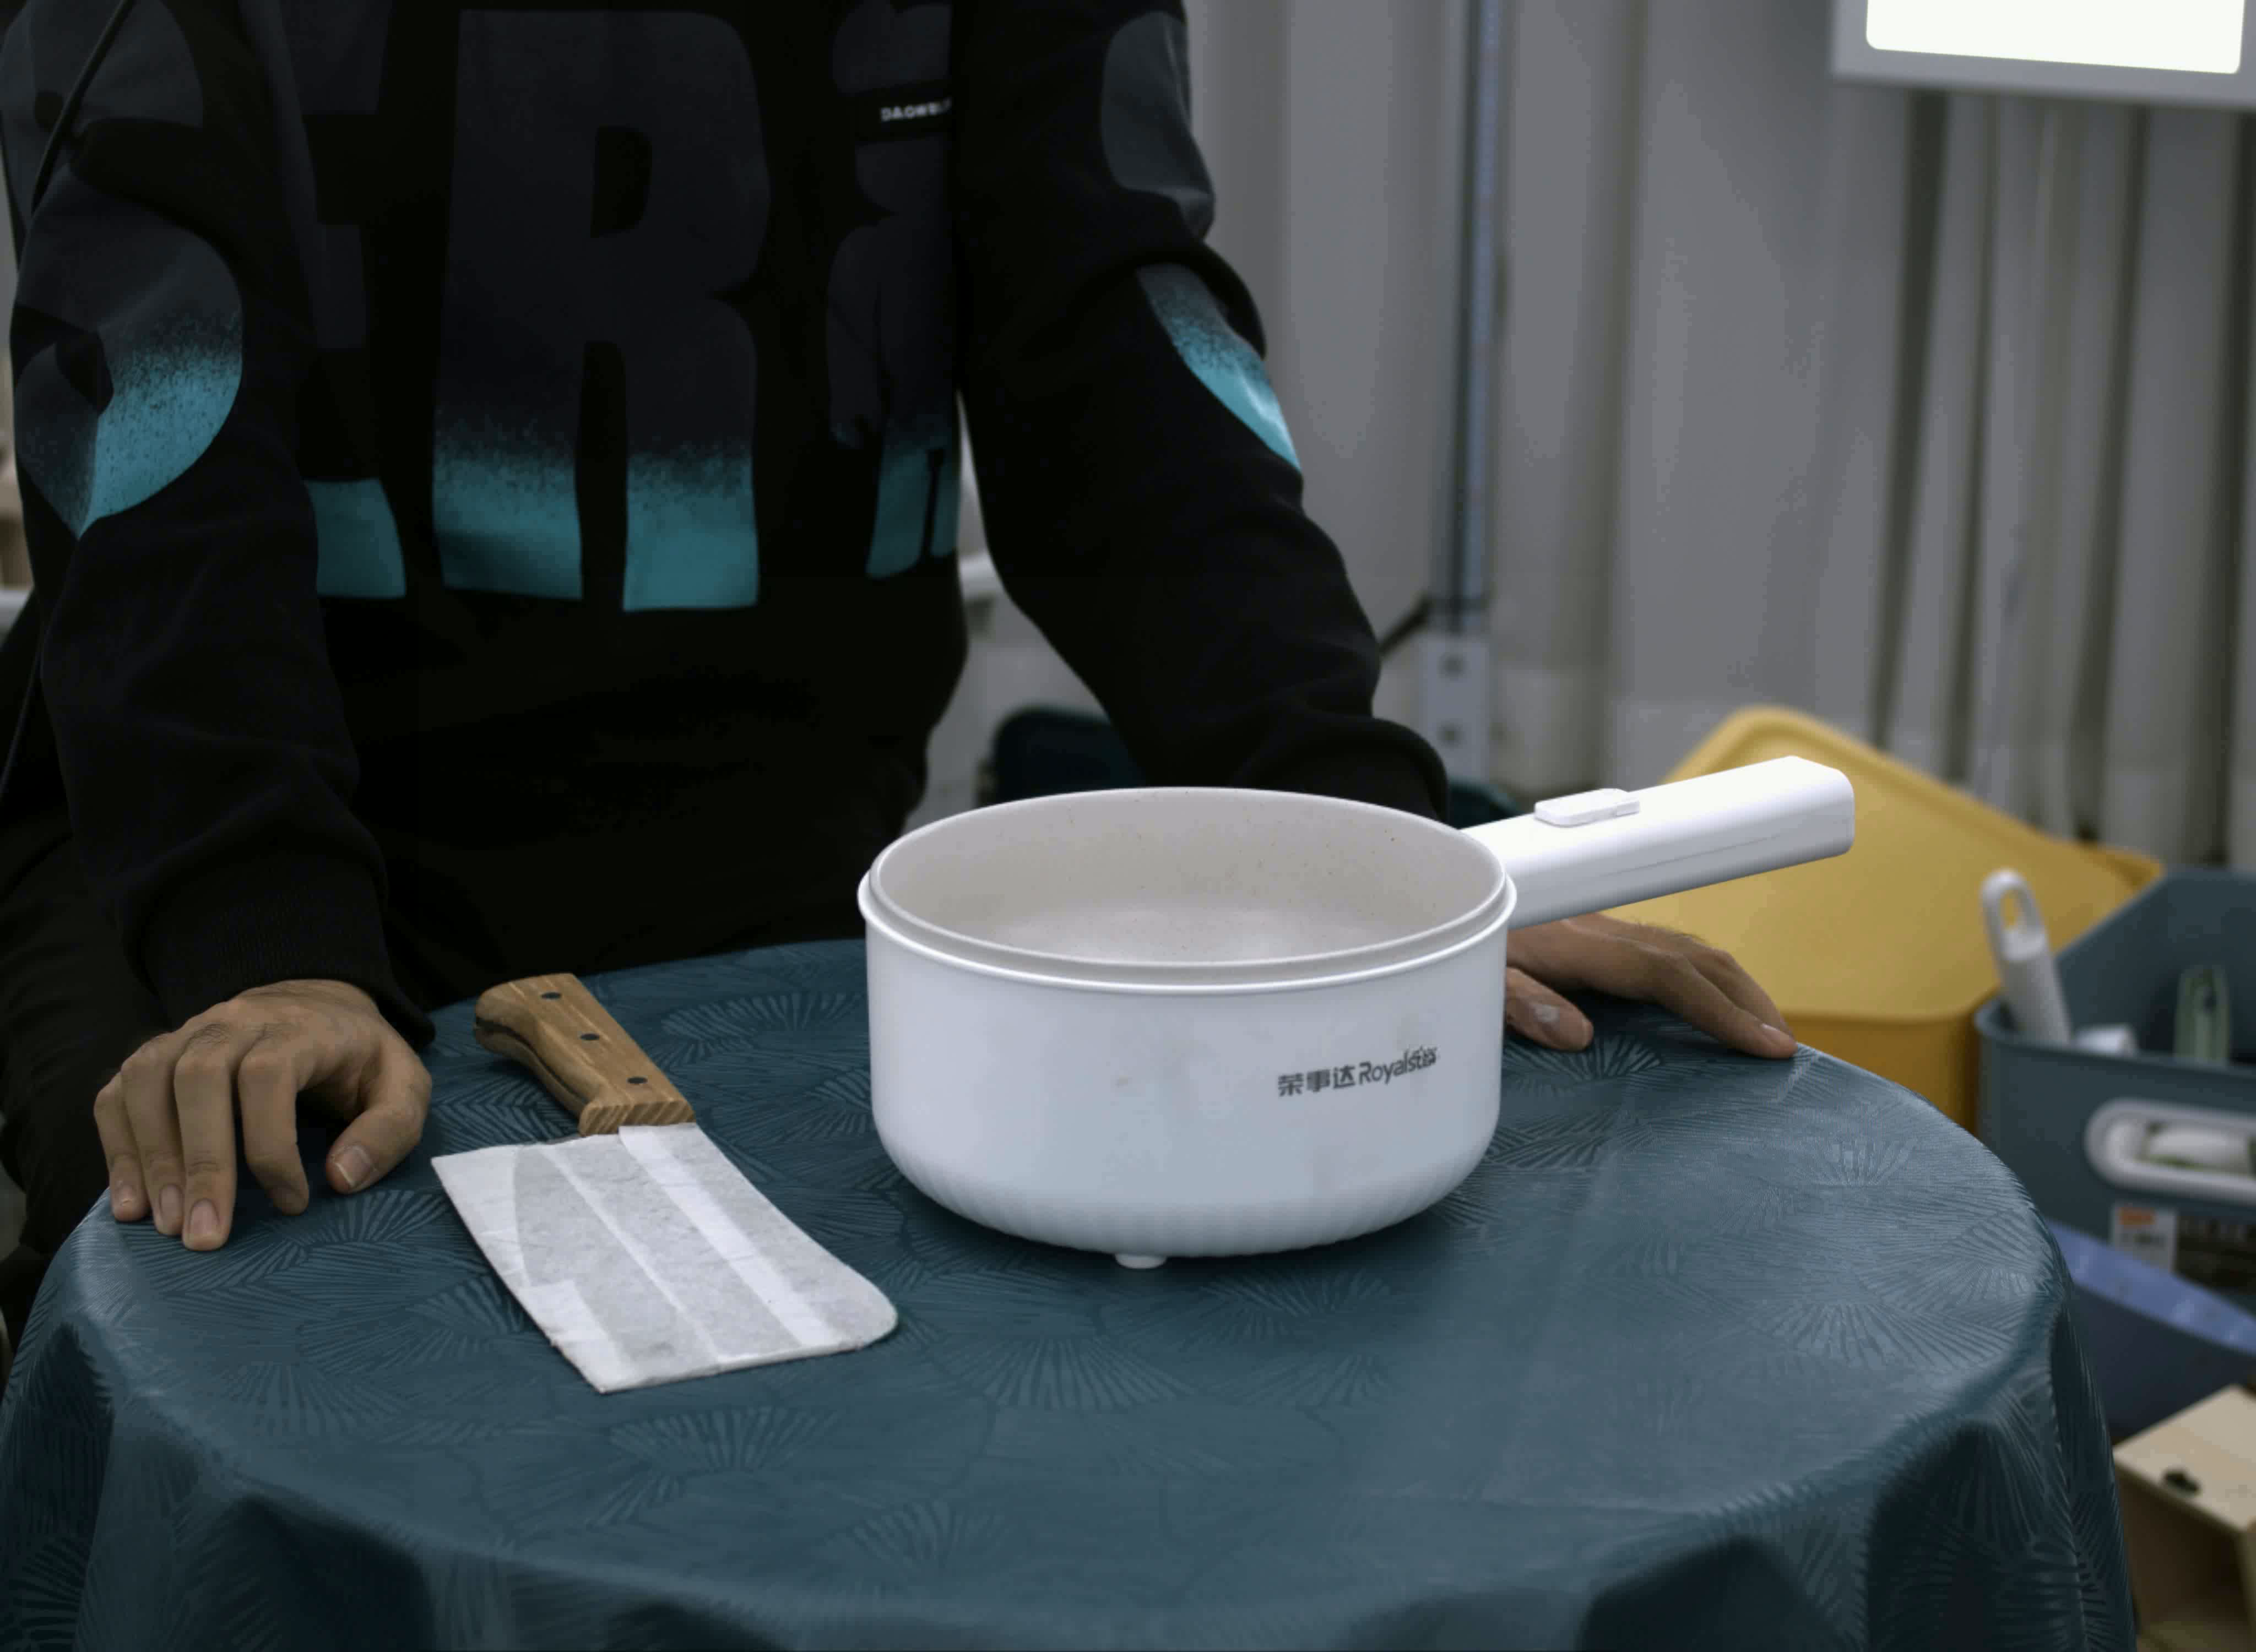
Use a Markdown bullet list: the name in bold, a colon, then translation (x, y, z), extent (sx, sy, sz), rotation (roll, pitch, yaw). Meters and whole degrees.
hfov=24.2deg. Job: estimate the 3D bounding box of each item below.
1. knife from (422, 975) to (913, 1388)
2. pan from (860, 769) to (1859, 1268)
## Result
- **knife**: translation (-0.155, 0.106, 1.609), extent (0.114, 0.022, 0.312), rotation (-5, 19, -18)
- **pan**: translation (0.082, 0.053, 1.659), extent (0.356, 0.103, 0.198), rotation (-9, 17, -33)
